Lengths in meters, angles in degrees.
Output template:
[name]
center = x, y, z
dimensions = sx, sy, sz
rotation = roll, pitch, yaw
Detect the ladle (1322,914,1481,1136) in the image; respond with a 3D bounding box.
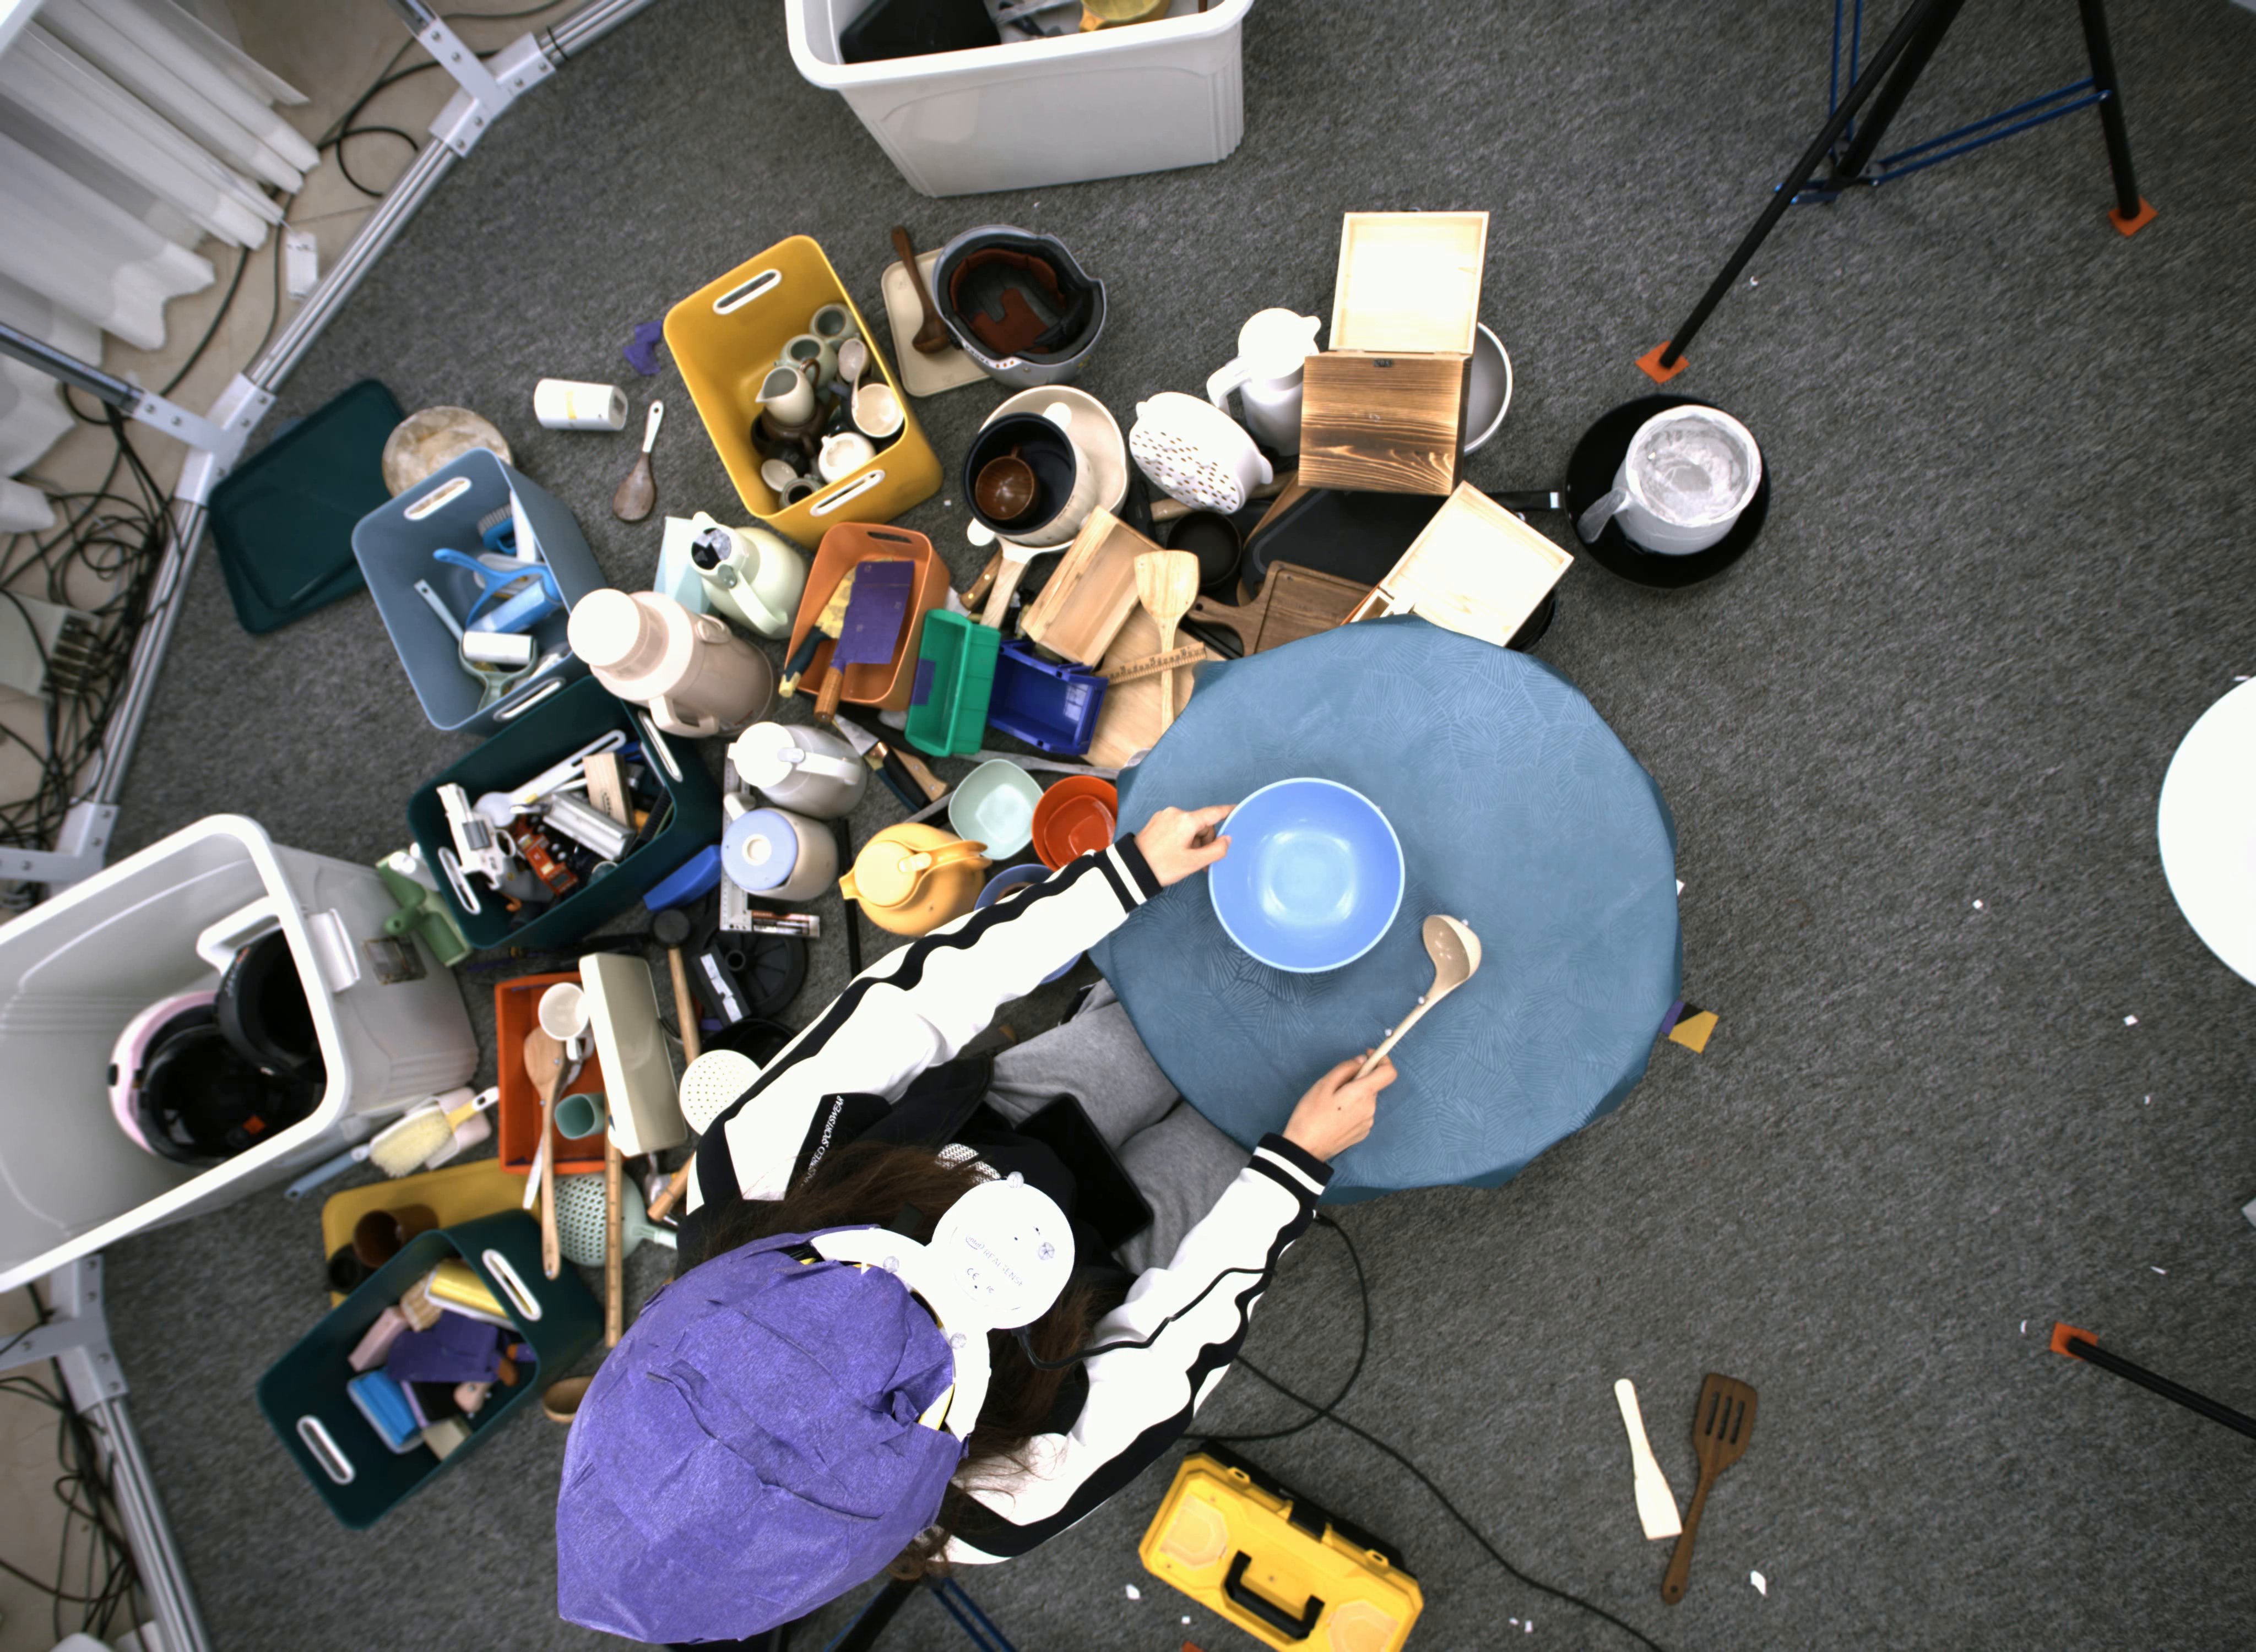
[ladle]
center = 0.263, 0.197, 1.401
dimensions = 0.253, 0.074, 0.071
rotation = -50, 40, -6

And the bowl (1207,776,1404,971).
[bowl]
center = 0.183, 0.053, 1.427
dimensions = 0.197, 0.096, 0.195
rotation = -1, 83, 9
